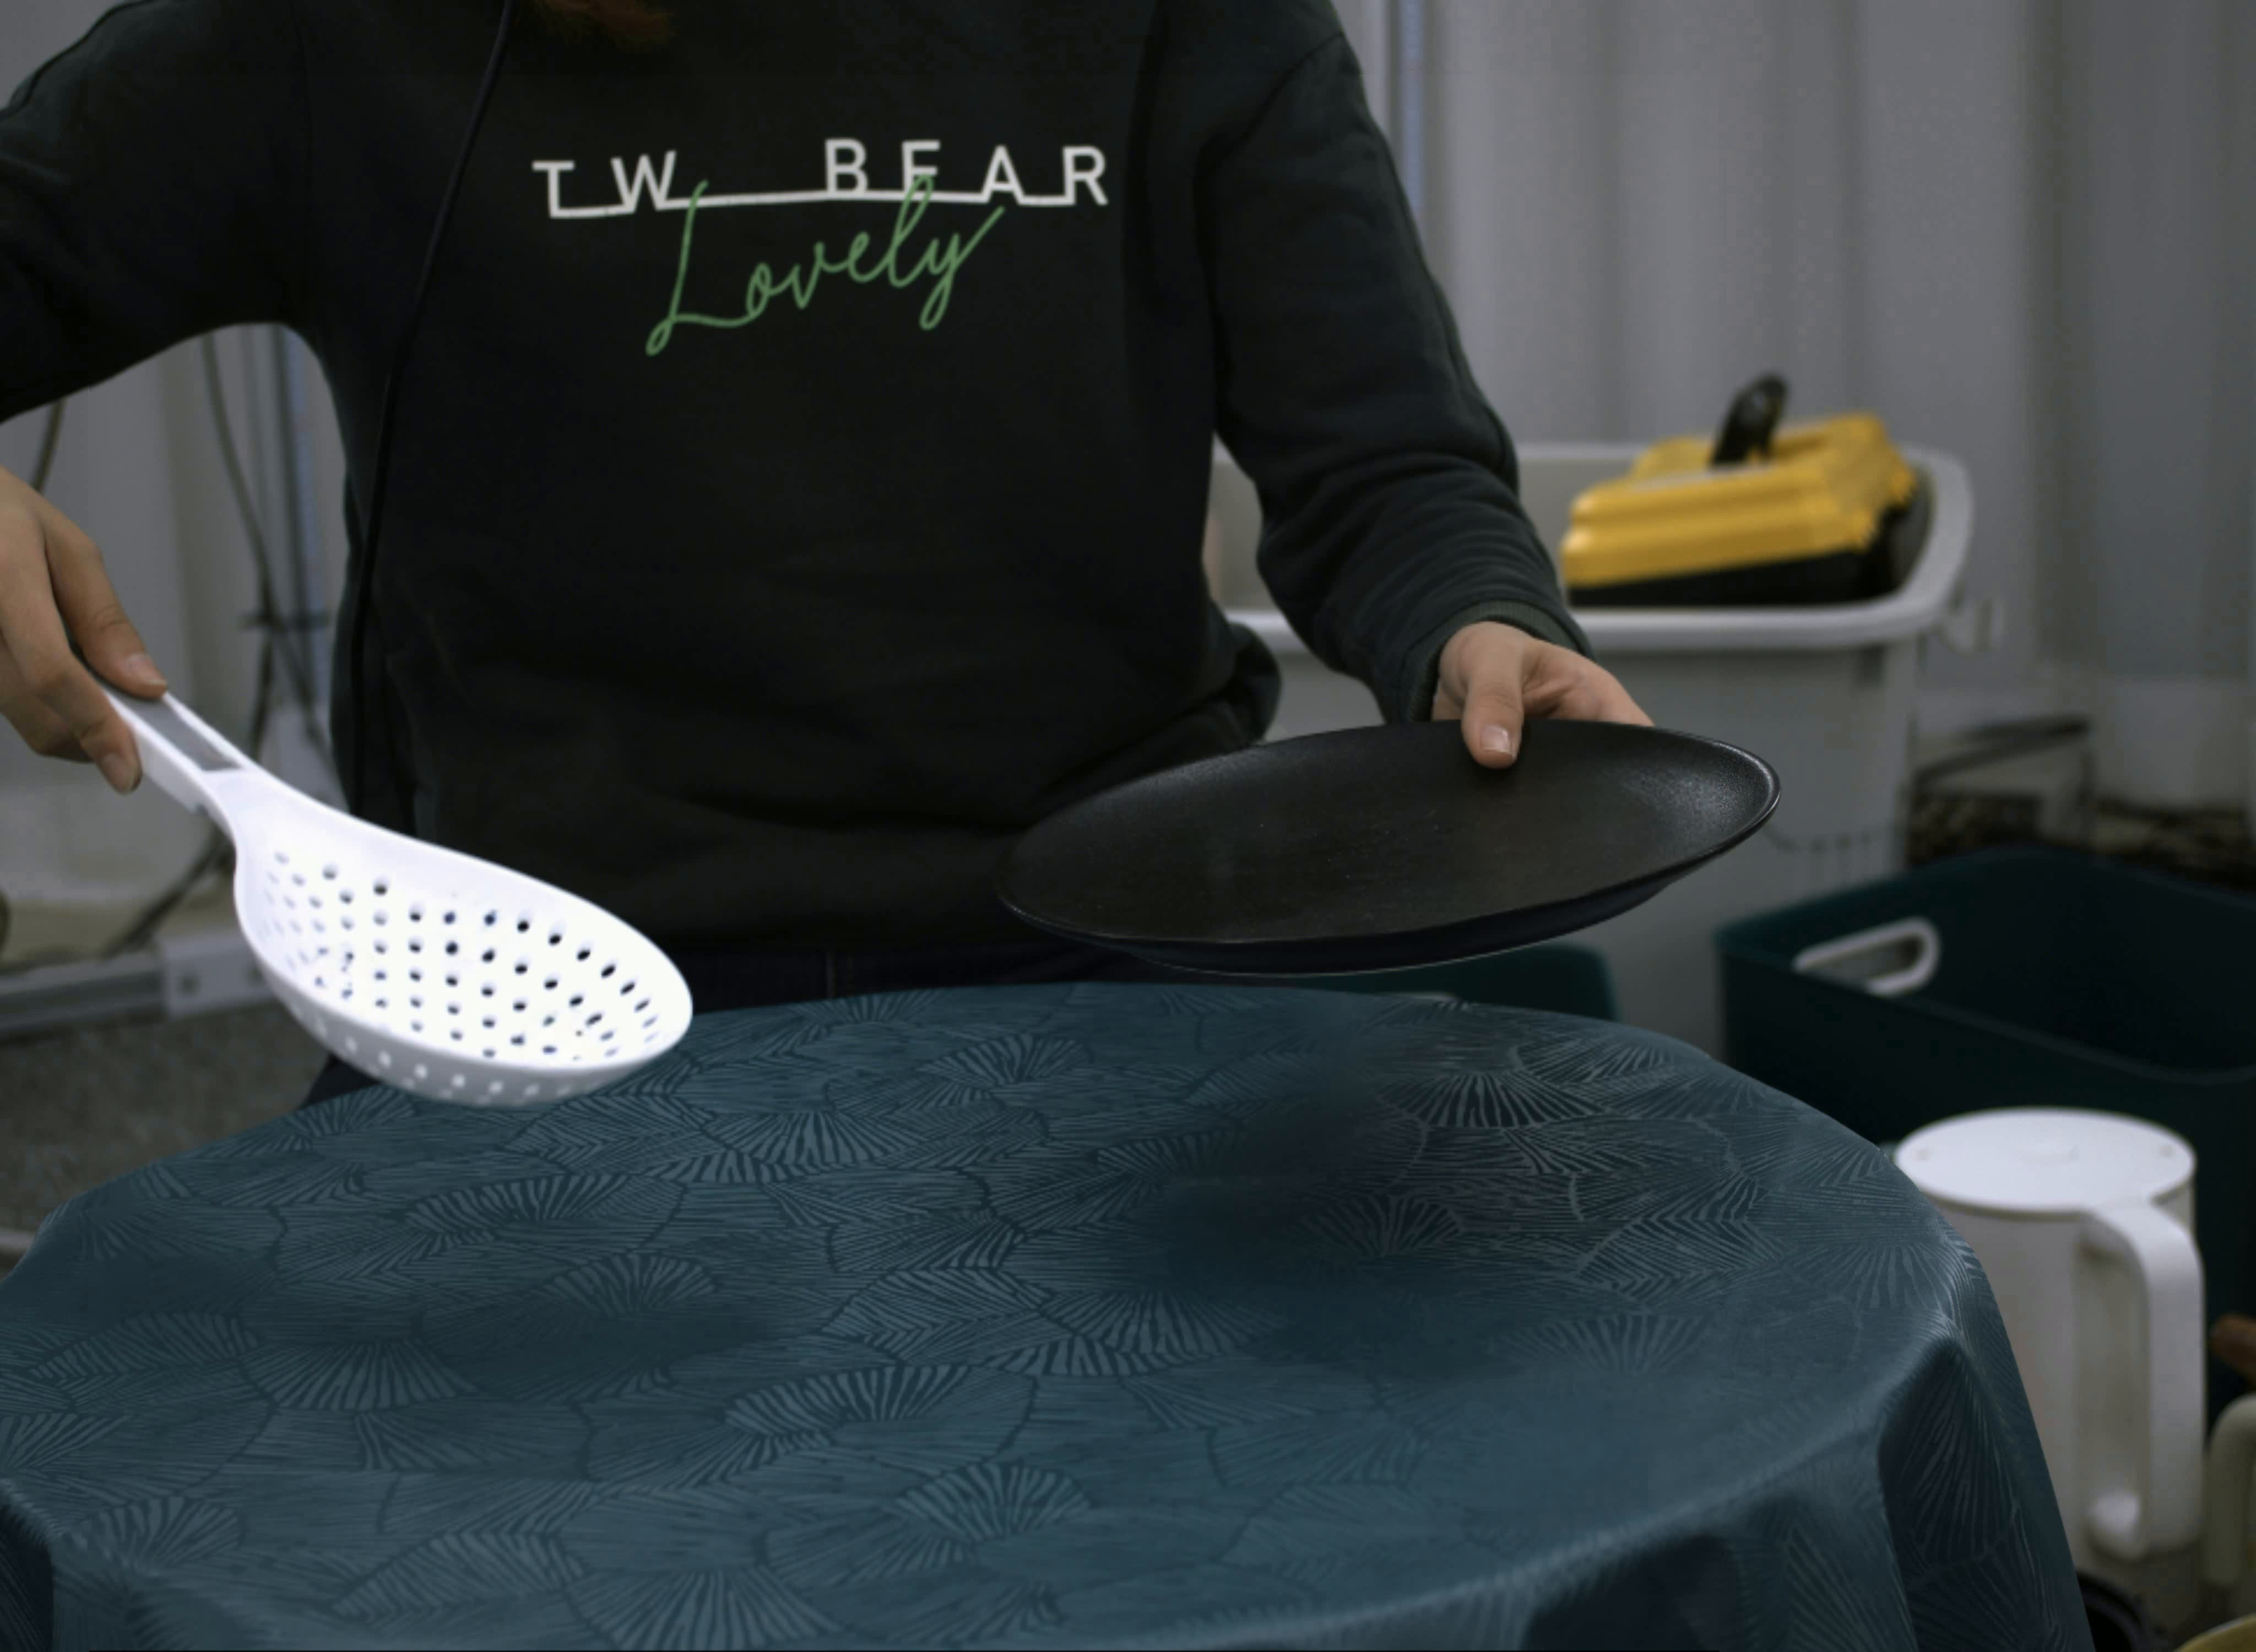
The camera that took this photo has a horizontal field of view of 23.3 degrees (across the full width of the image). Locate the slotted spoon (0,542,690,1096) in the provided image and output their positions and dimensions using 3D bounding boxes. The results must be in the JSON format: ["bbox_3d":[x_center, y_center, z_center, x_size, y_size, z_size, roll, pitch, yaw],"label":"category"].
[{"bbox_3d":[-0.267,-0.008,1.674,0.135,0.045,0.354,-2,33,-46],"label":"slotted spoon"}]

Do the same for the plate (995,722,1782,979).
[{"bbox_3d":[0.080,0.009,1.683,0.243,0.023,0.246,-7,14,1],"label":"plate"}]
